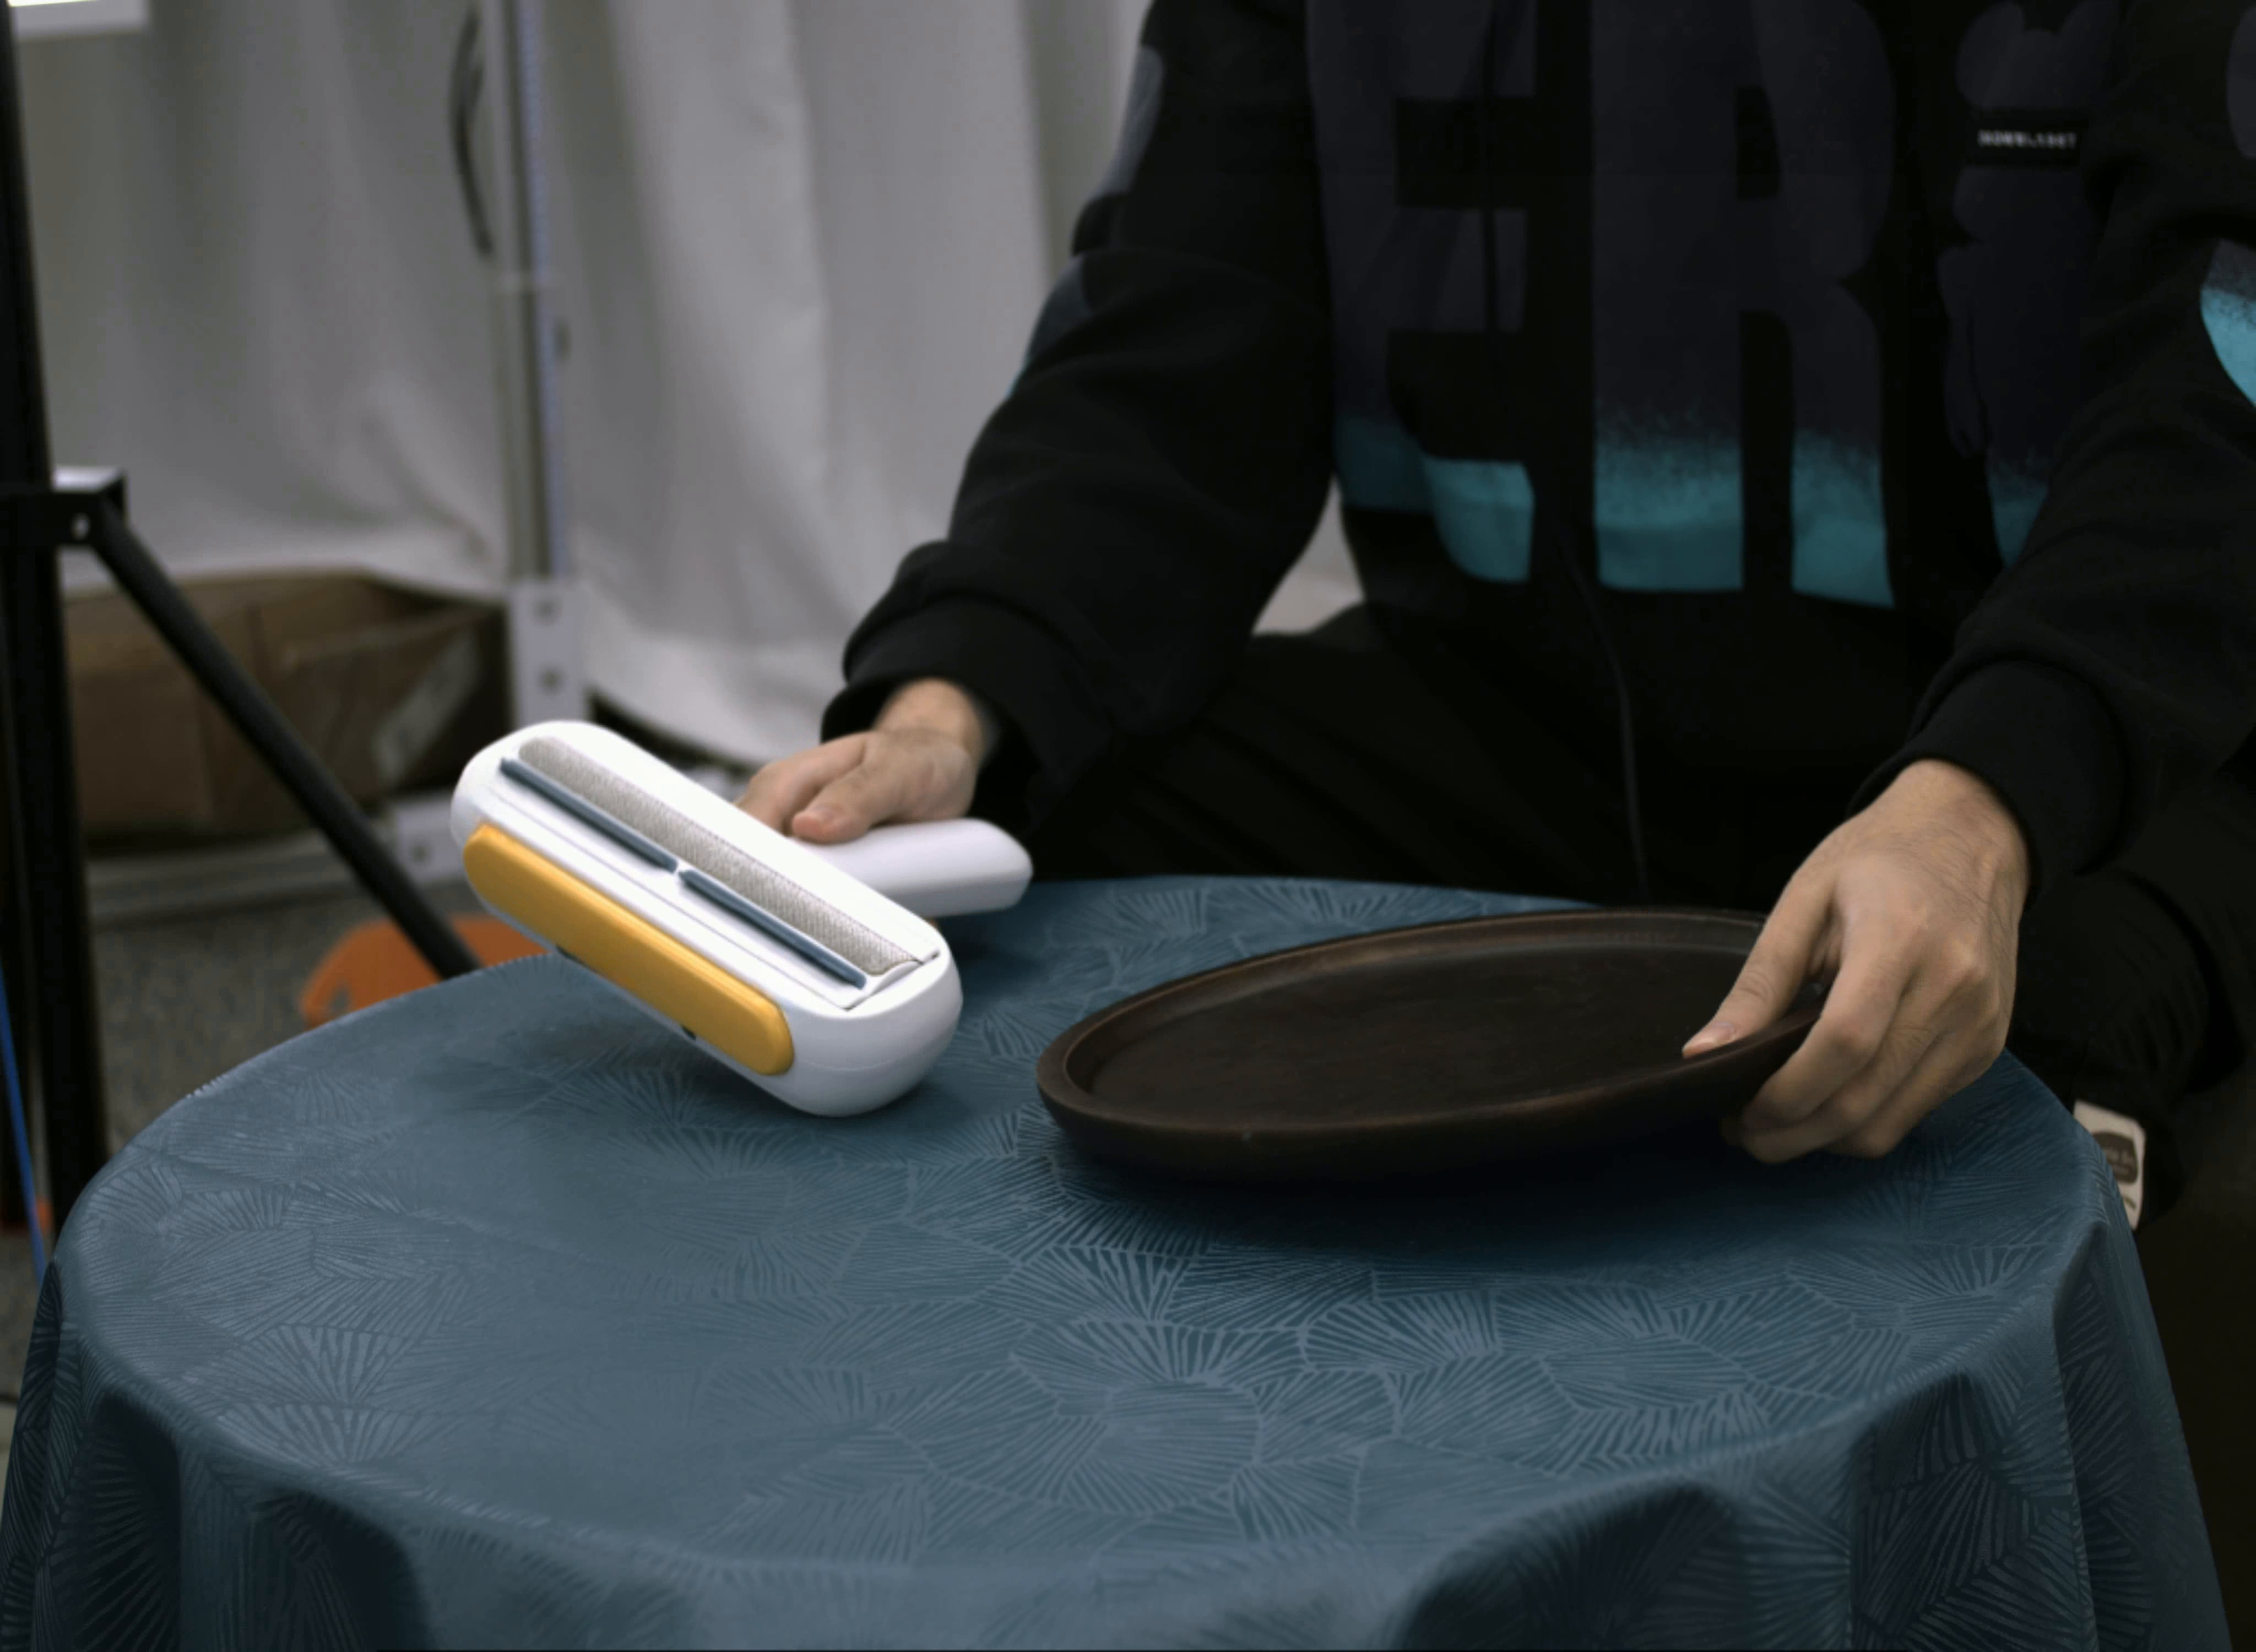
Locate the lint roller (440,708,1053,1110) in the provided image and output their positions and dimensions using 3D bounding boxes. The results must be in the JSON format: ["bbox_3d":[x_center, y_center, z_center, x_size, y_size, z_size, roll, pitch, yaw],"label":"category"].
[{"bbox_3d":[-0.099,0.017,1.727,0.188,0.074,0.197,-19,36,-40],"label":"lint roller"}]

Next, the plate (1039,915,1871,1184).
[{"bbox_3d":[0.098,0.066,1.594,0.253,0.029,0.255,-8,9,0],"label":"plate"}]
